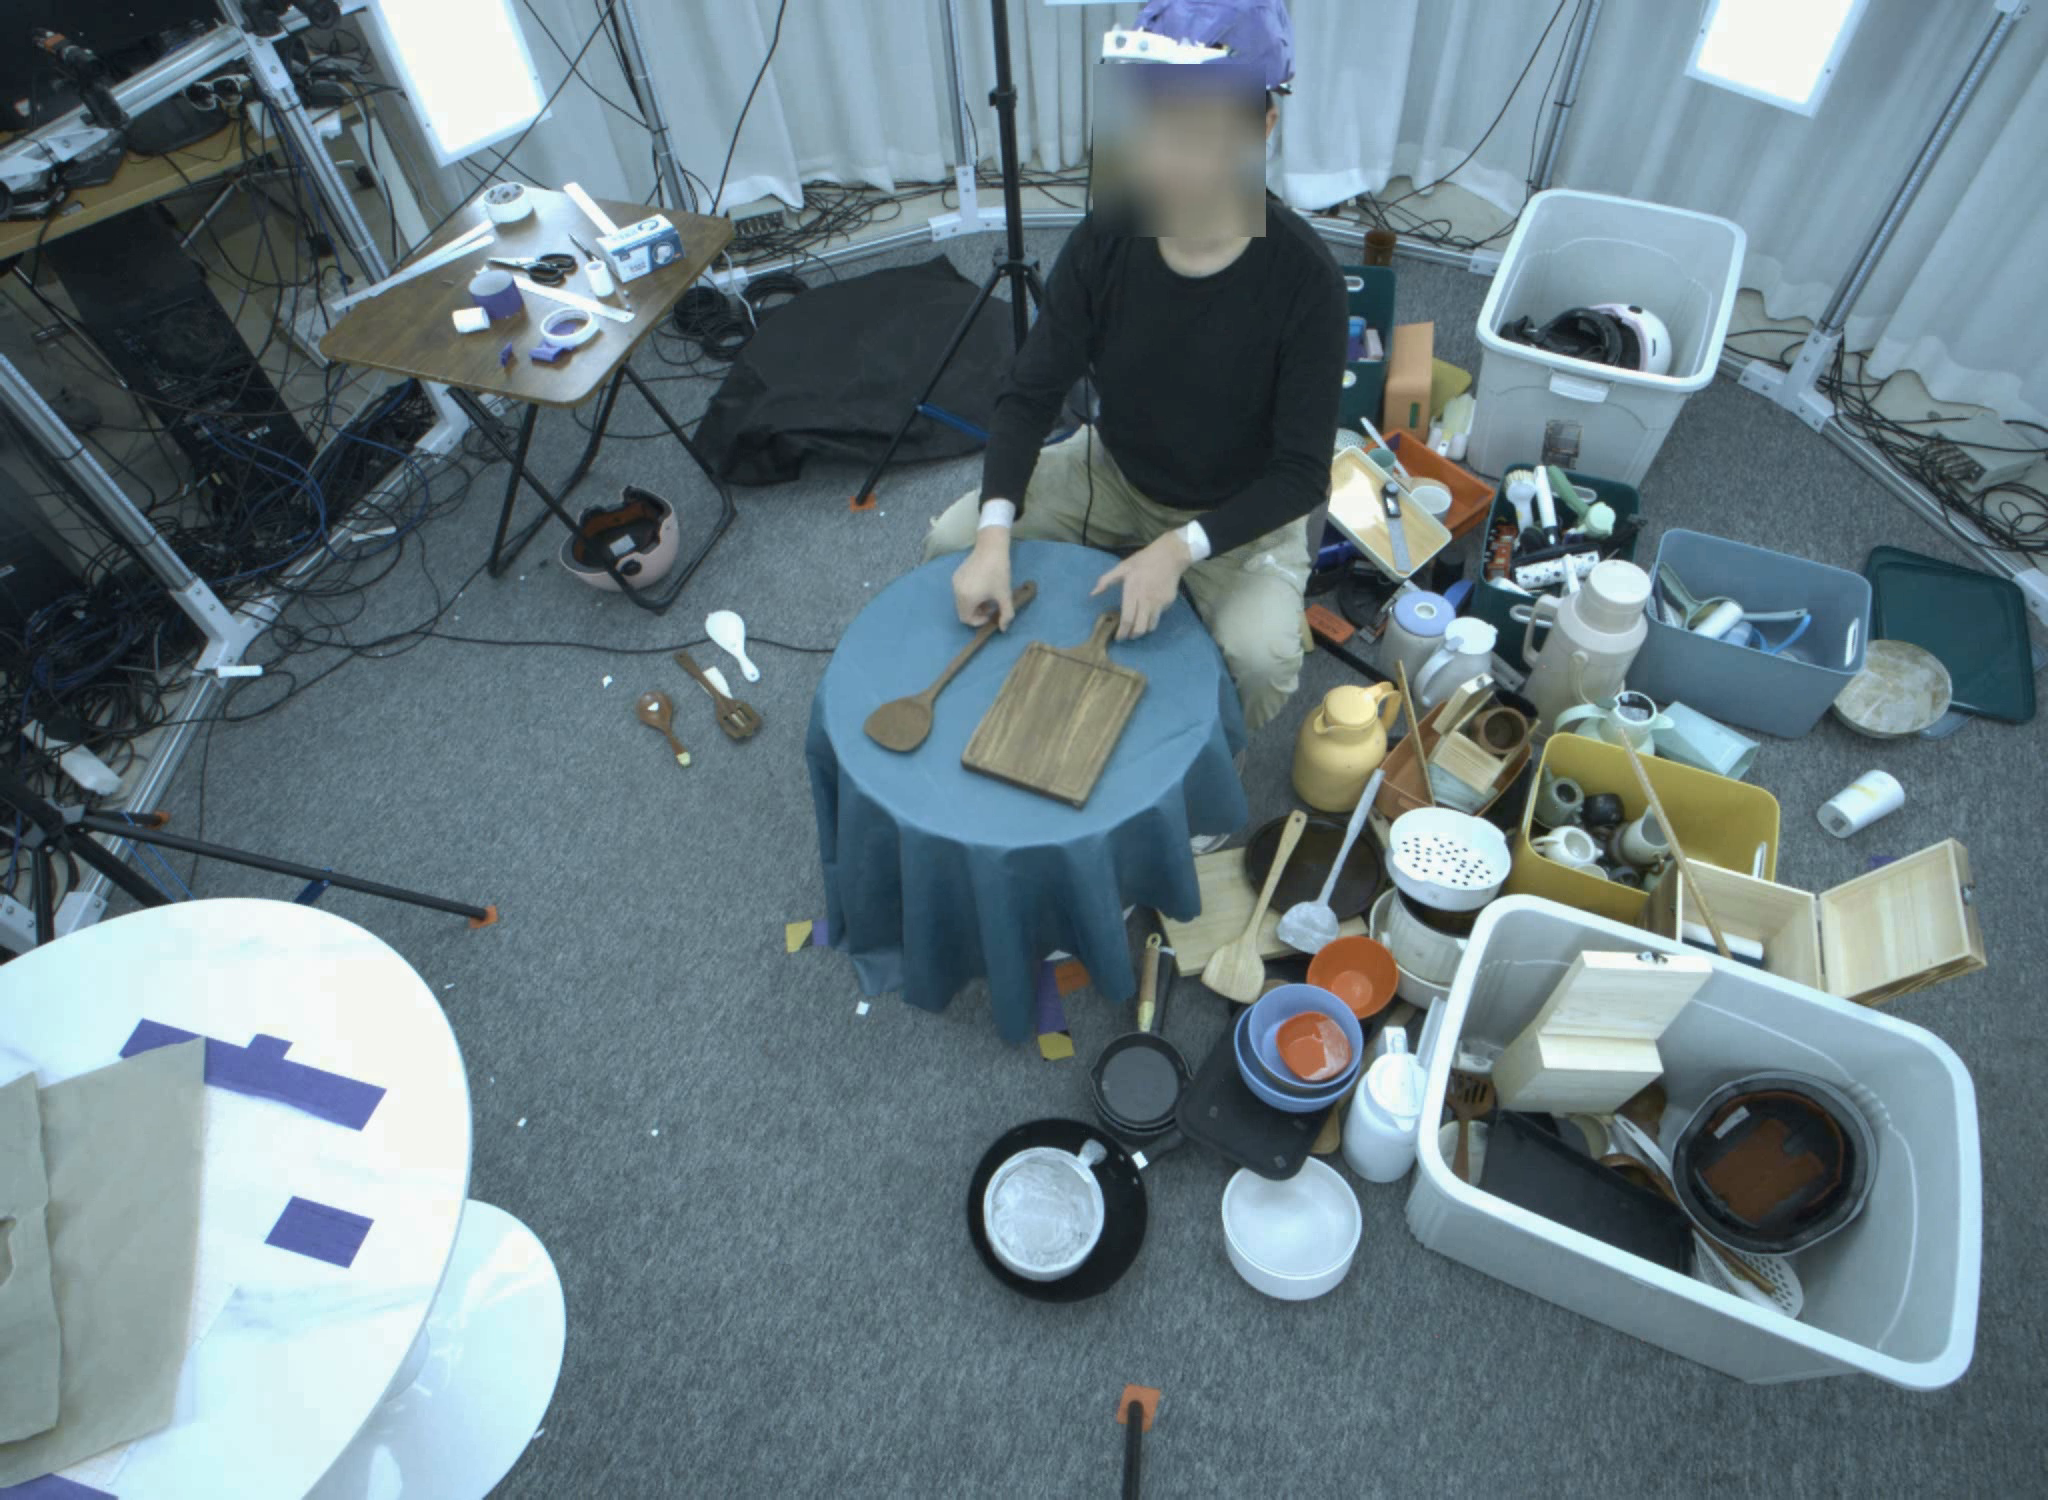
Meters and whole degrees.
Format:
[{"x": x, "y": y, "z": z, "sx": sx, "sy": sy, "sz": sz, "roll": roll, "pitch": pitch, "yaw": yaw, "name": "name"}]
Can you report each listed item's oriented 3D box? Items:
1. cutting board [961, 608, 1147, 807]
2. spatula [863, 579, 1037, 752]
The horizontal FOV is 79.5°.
[{"x": 0.067, "y": -0.082, "z": 1.831, "sx": 0.199, "sy": 0.023, "sz": 0.352, "roll": 19, "pitch": 58, "yaw": 14, "name": "cutting board"}, {"x": -0.098, "y": -0.140, "z": 1.878, "sx": 0.094, "sy": 0.016, "sz": 0.387, "roll": 30, "pitch": 62, "yaw": 20, "name": "spatula"}]
